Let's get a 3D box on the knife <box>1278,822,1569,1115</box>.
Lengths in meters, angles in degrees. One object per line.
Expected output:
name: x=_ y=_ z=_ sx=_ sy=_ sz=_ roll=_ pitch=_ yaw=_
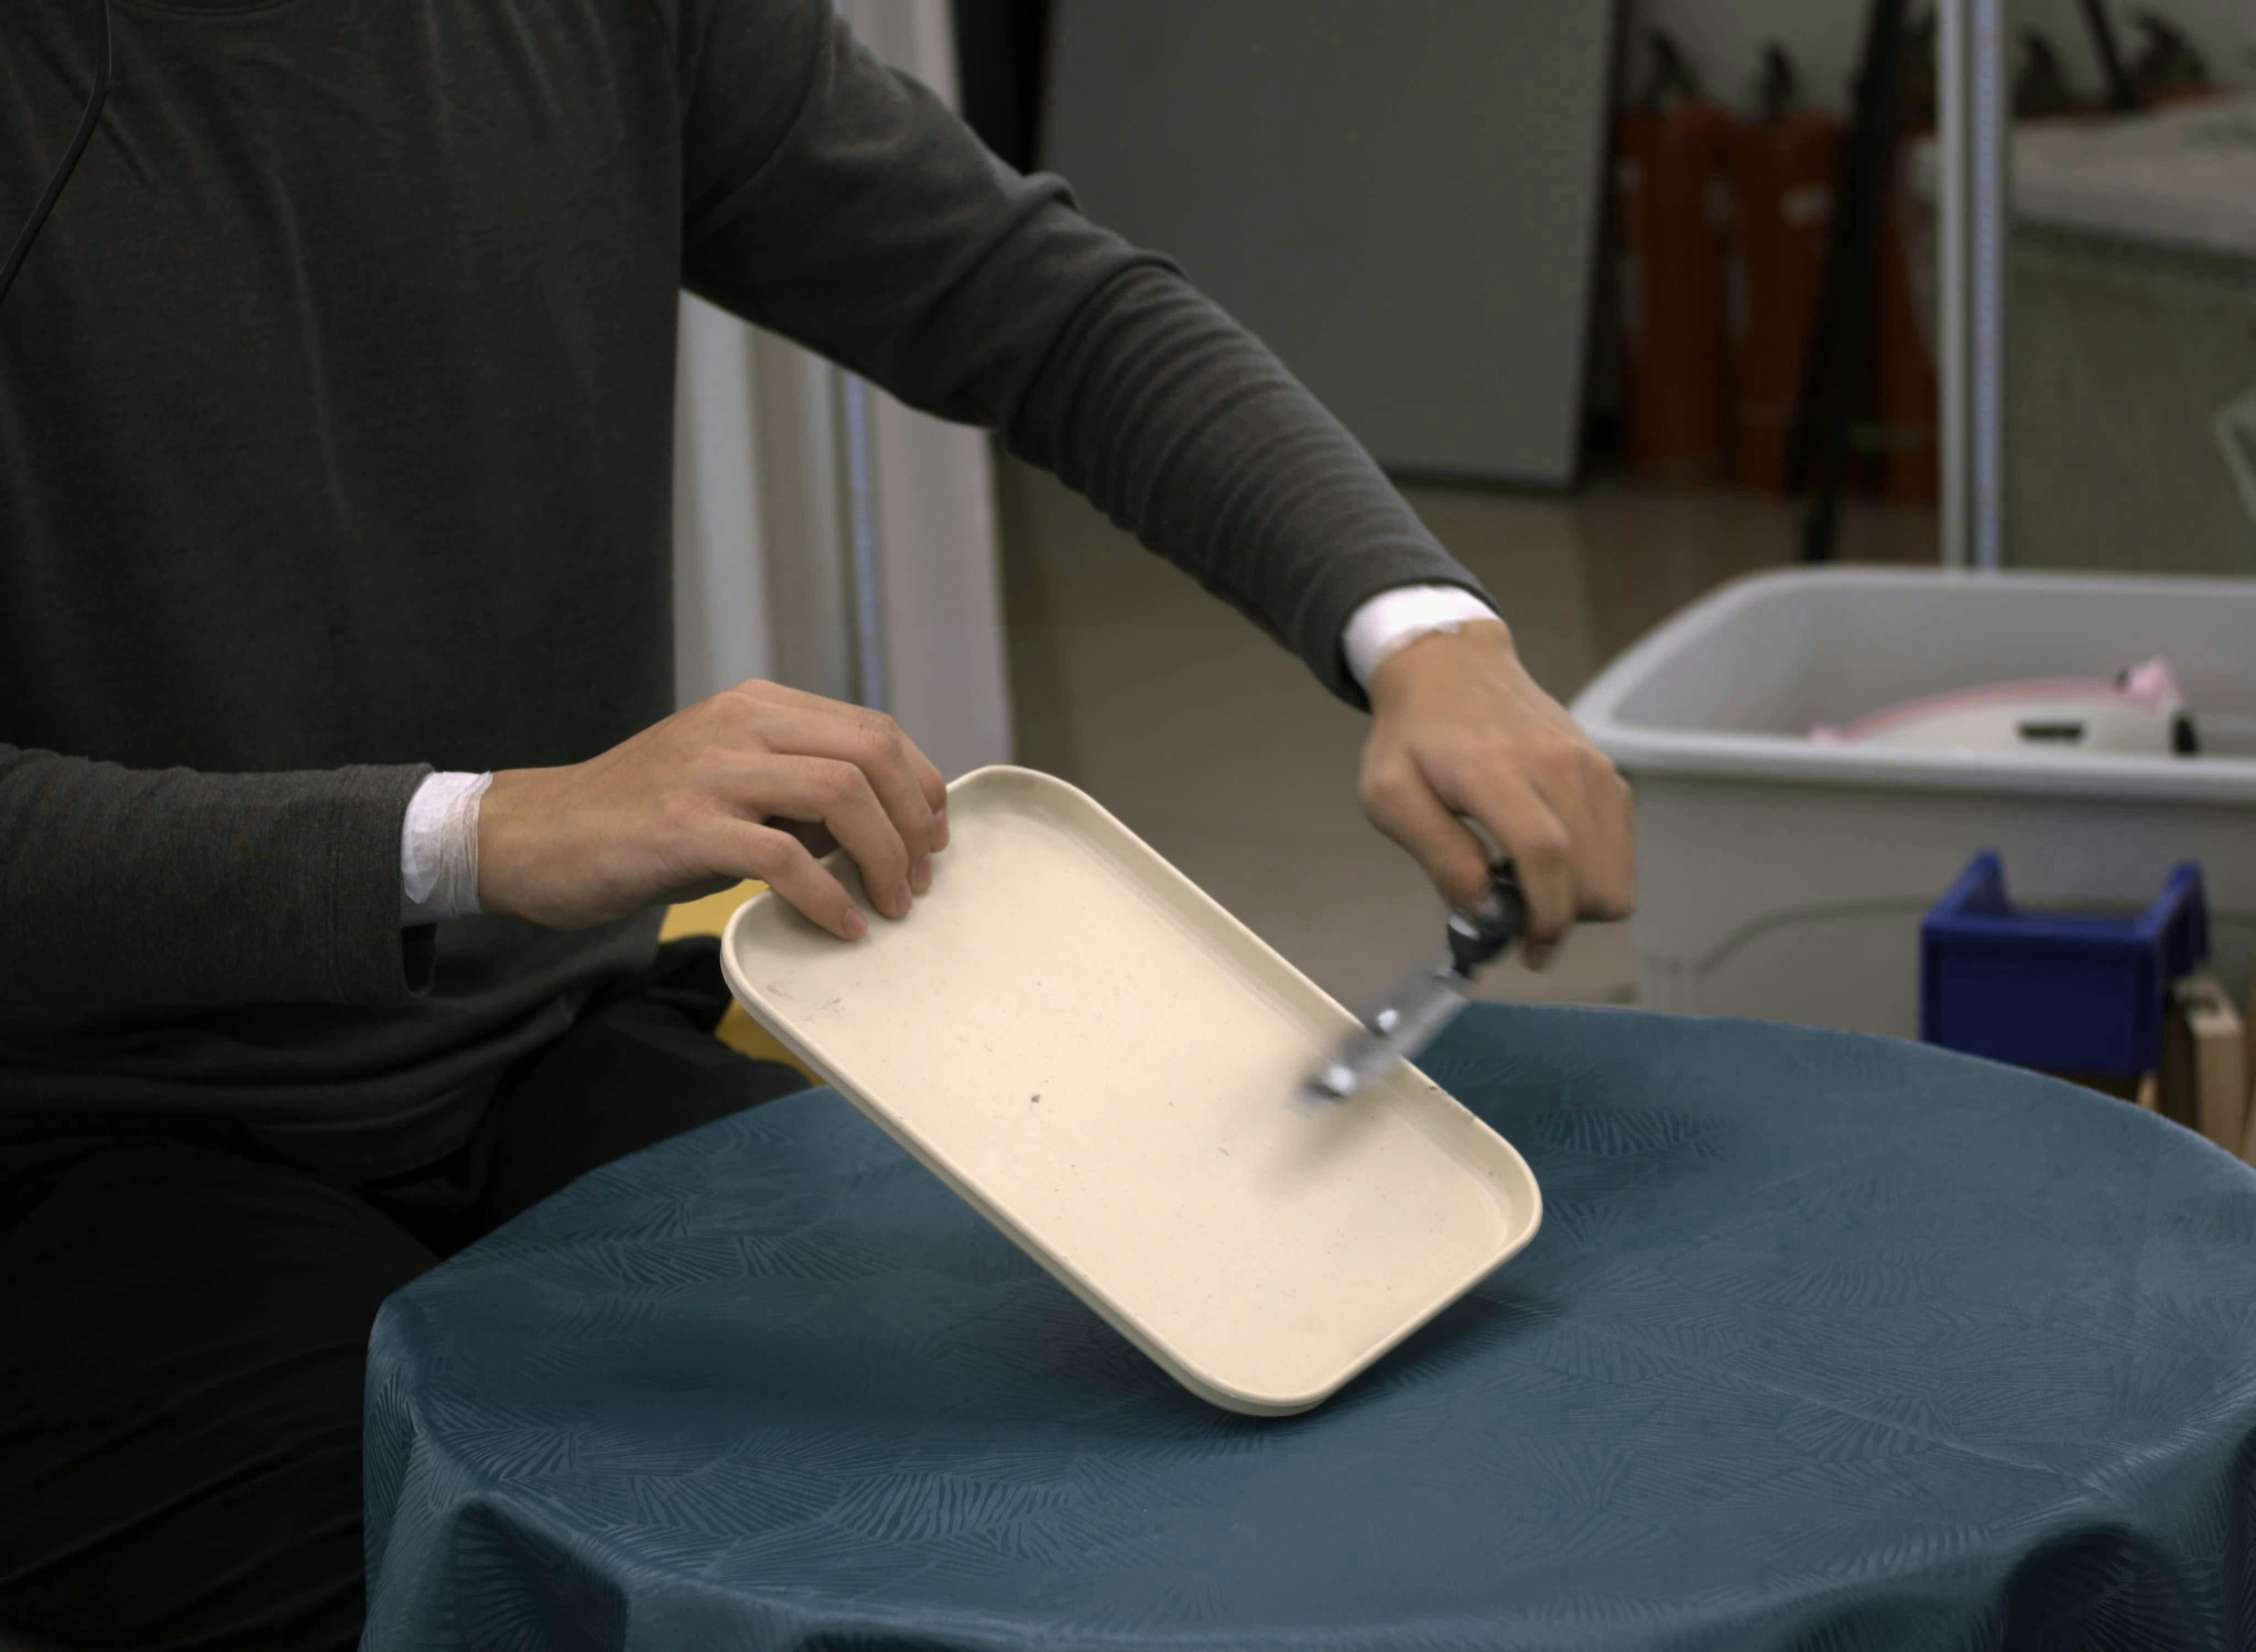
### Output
knife: x=0.093 y=0.044 z=1.720 sx=0.024 sy=0.016 sz=0.235 roll=32 pitch=31 yaw=11

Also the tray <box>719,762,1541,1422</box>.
tray: x=0.000 y=0.079 z=1.636 sx=0.241 sy=0.017 sz=0.168 roll=40 pitch=41 yaw=20
